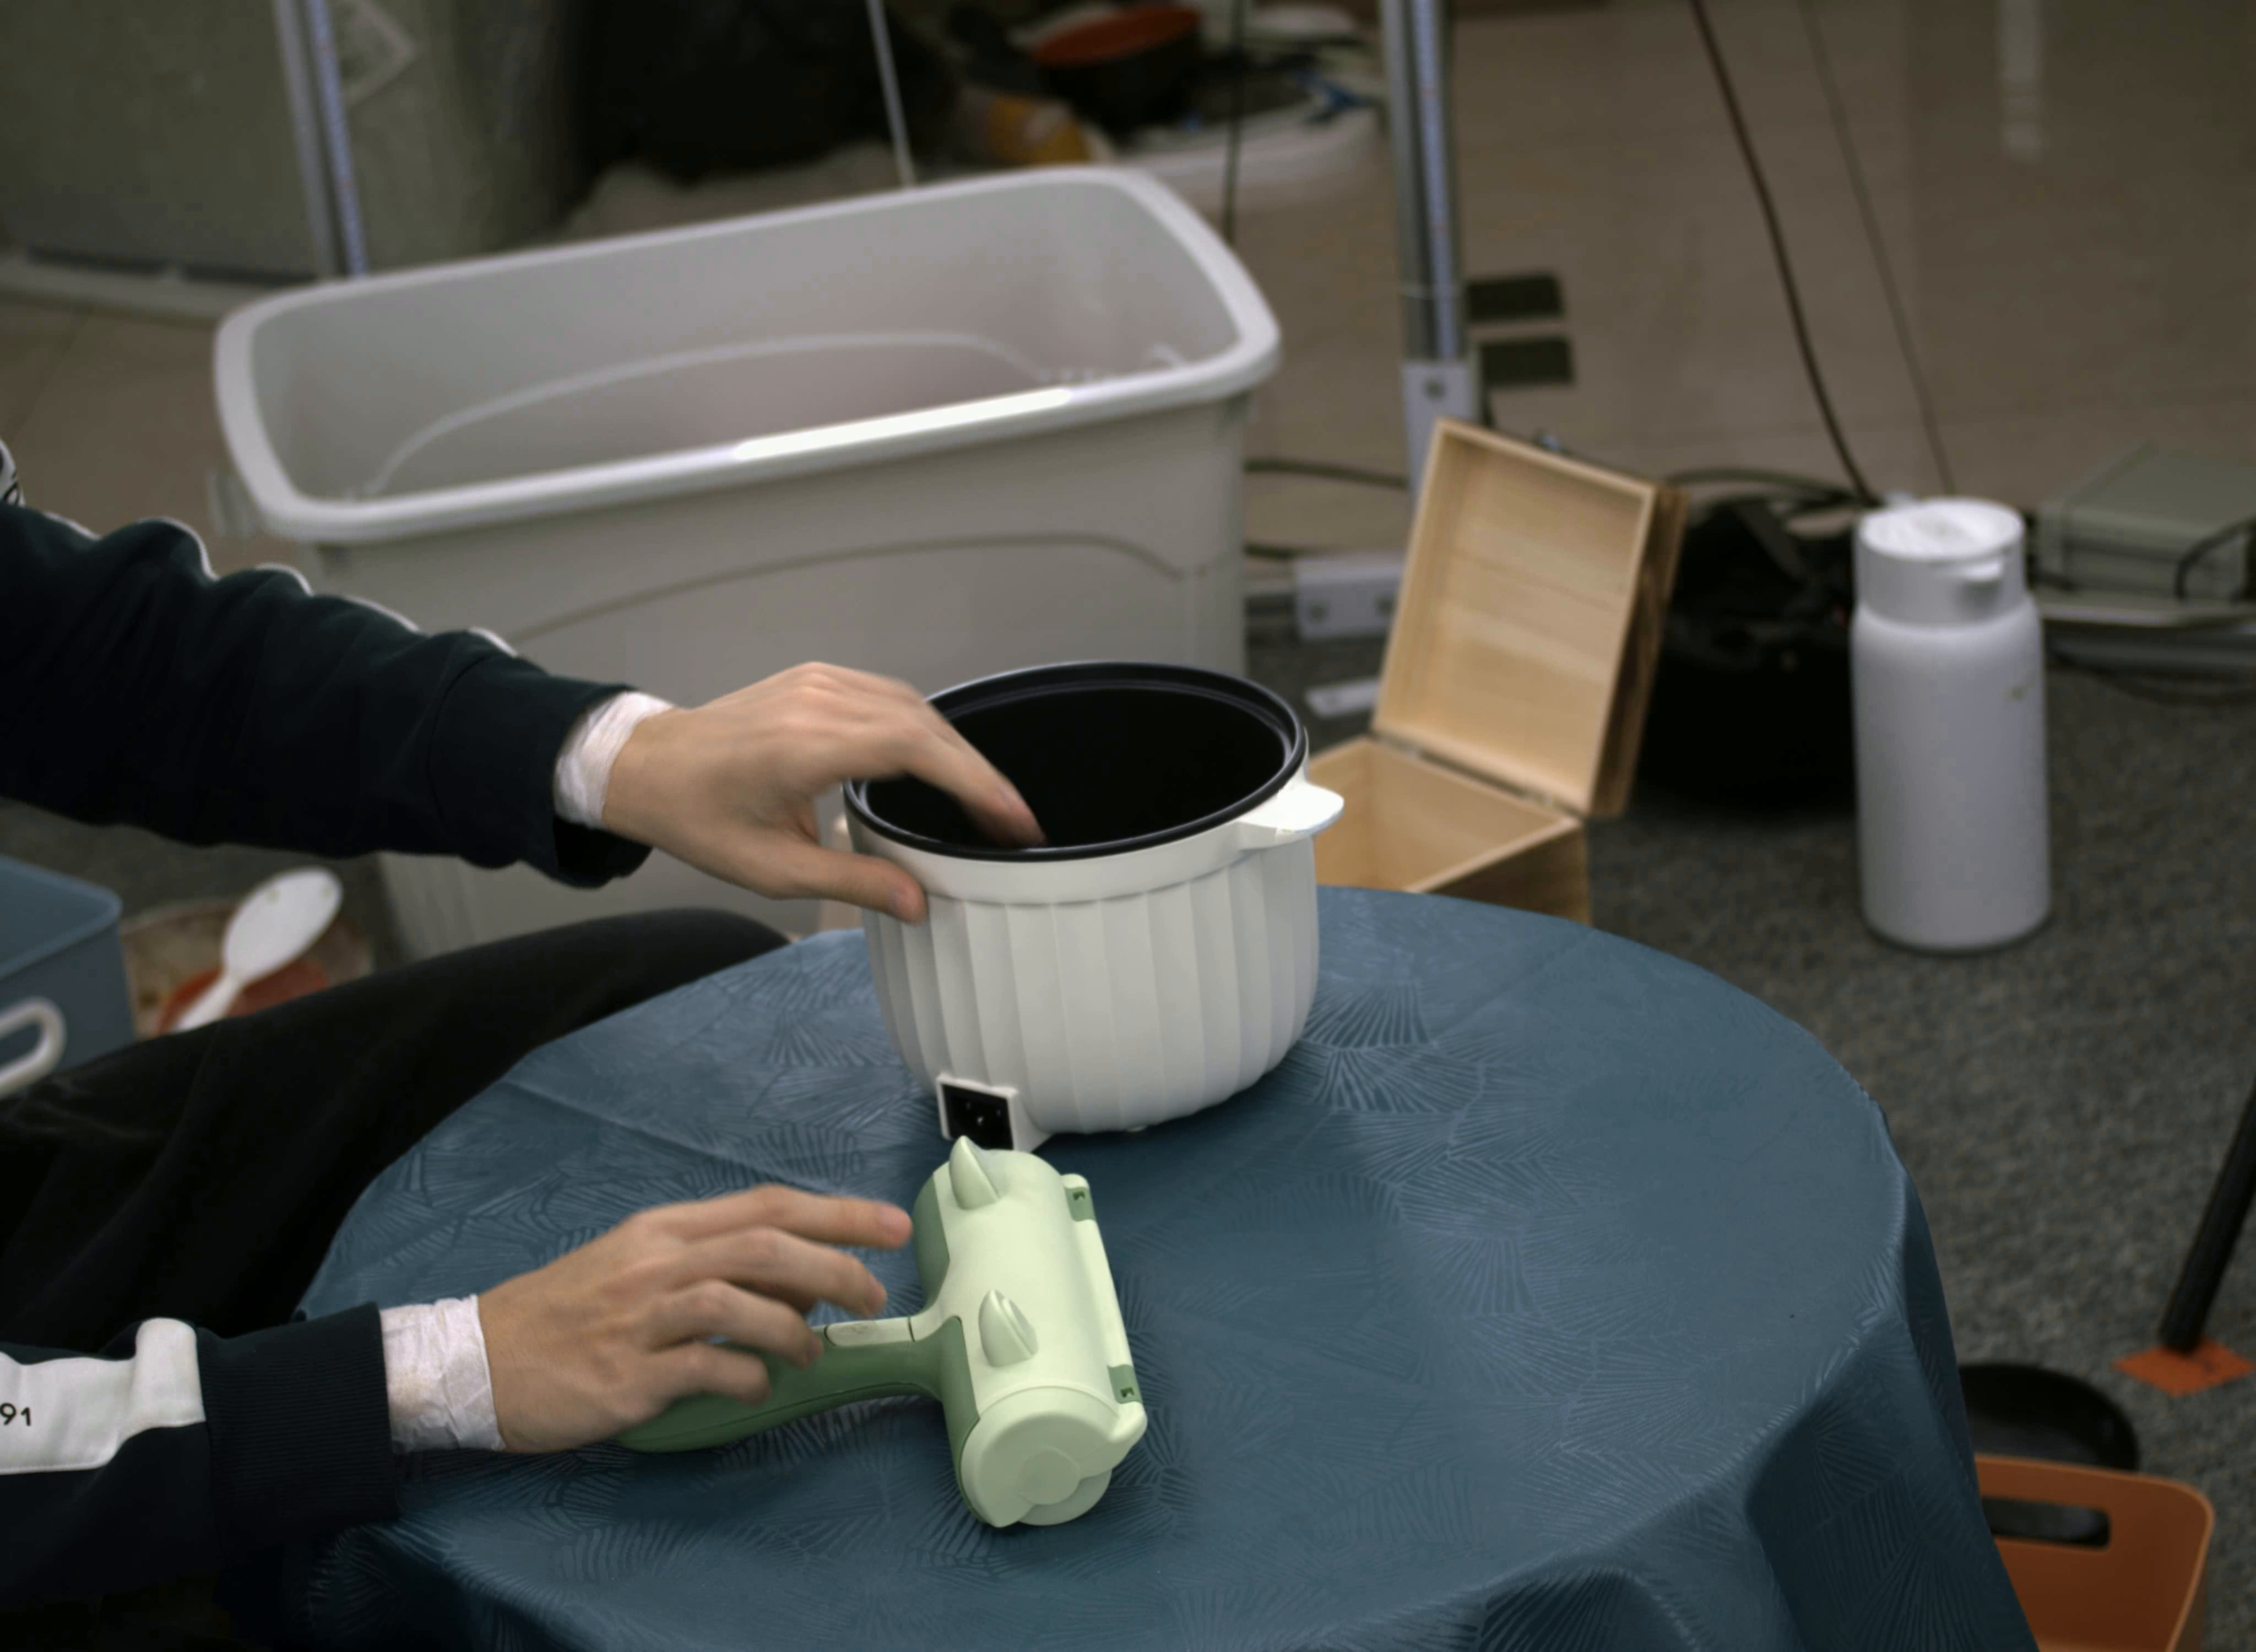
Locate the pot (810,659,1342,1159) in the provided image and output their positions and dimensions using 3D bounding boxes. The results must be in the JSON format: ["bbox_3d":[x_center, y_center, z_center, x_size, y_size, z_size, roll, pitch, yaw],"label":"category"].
[{"bbox_3d":[-0.014,0.030,2.215,0.239,0.145,0.188,12,34,32],"label":"pot"}]

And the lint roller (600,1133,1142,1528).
[{"bbox_3d":[-0.096,0.175,2.000,0.183,0.083,0.195,-3,25,-6],"label":"lint roller"}]
